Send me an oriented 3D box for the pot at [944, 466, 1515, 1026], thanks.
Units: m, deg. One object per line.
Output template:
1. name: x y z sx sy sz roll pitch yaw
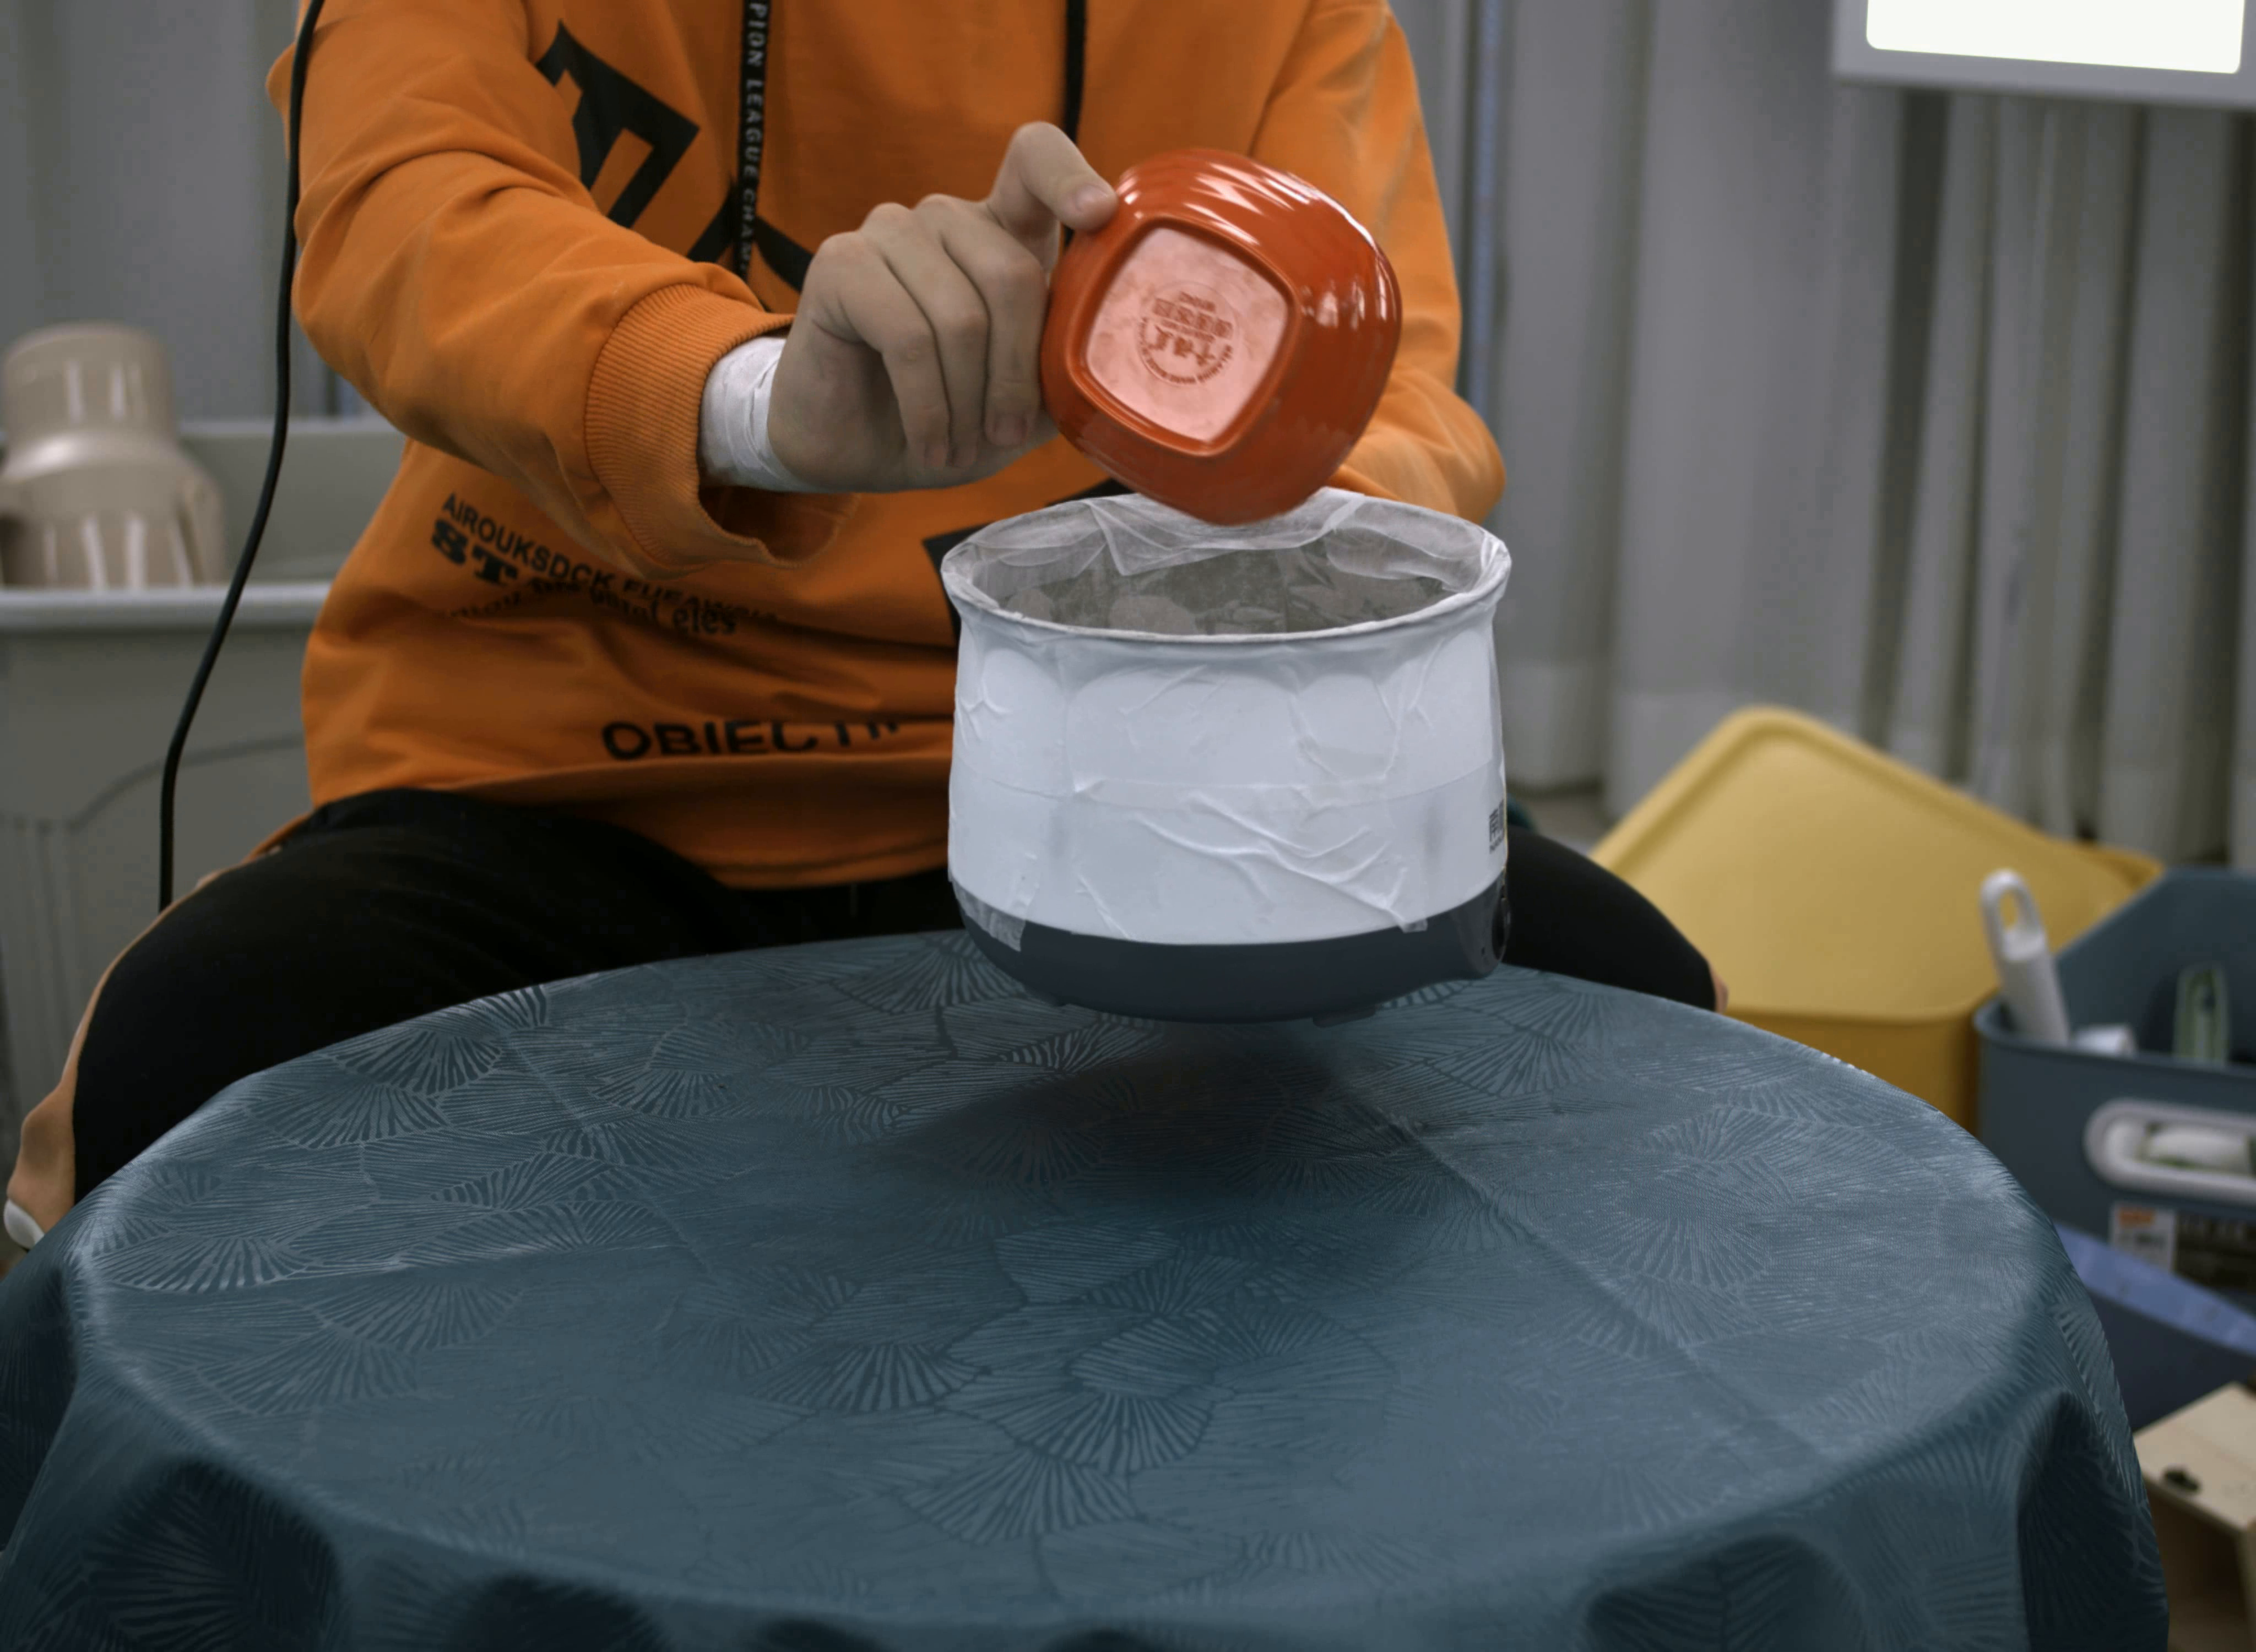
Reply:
1. pot: 0.038 -0.032 1.673 0.177 0.138 0.233 4 19 12

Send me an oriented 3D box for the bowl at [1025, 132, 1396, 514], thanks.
1. bowl: 0.019 -0.153 1.602 0.118 0.119 0.051 5 8 15
